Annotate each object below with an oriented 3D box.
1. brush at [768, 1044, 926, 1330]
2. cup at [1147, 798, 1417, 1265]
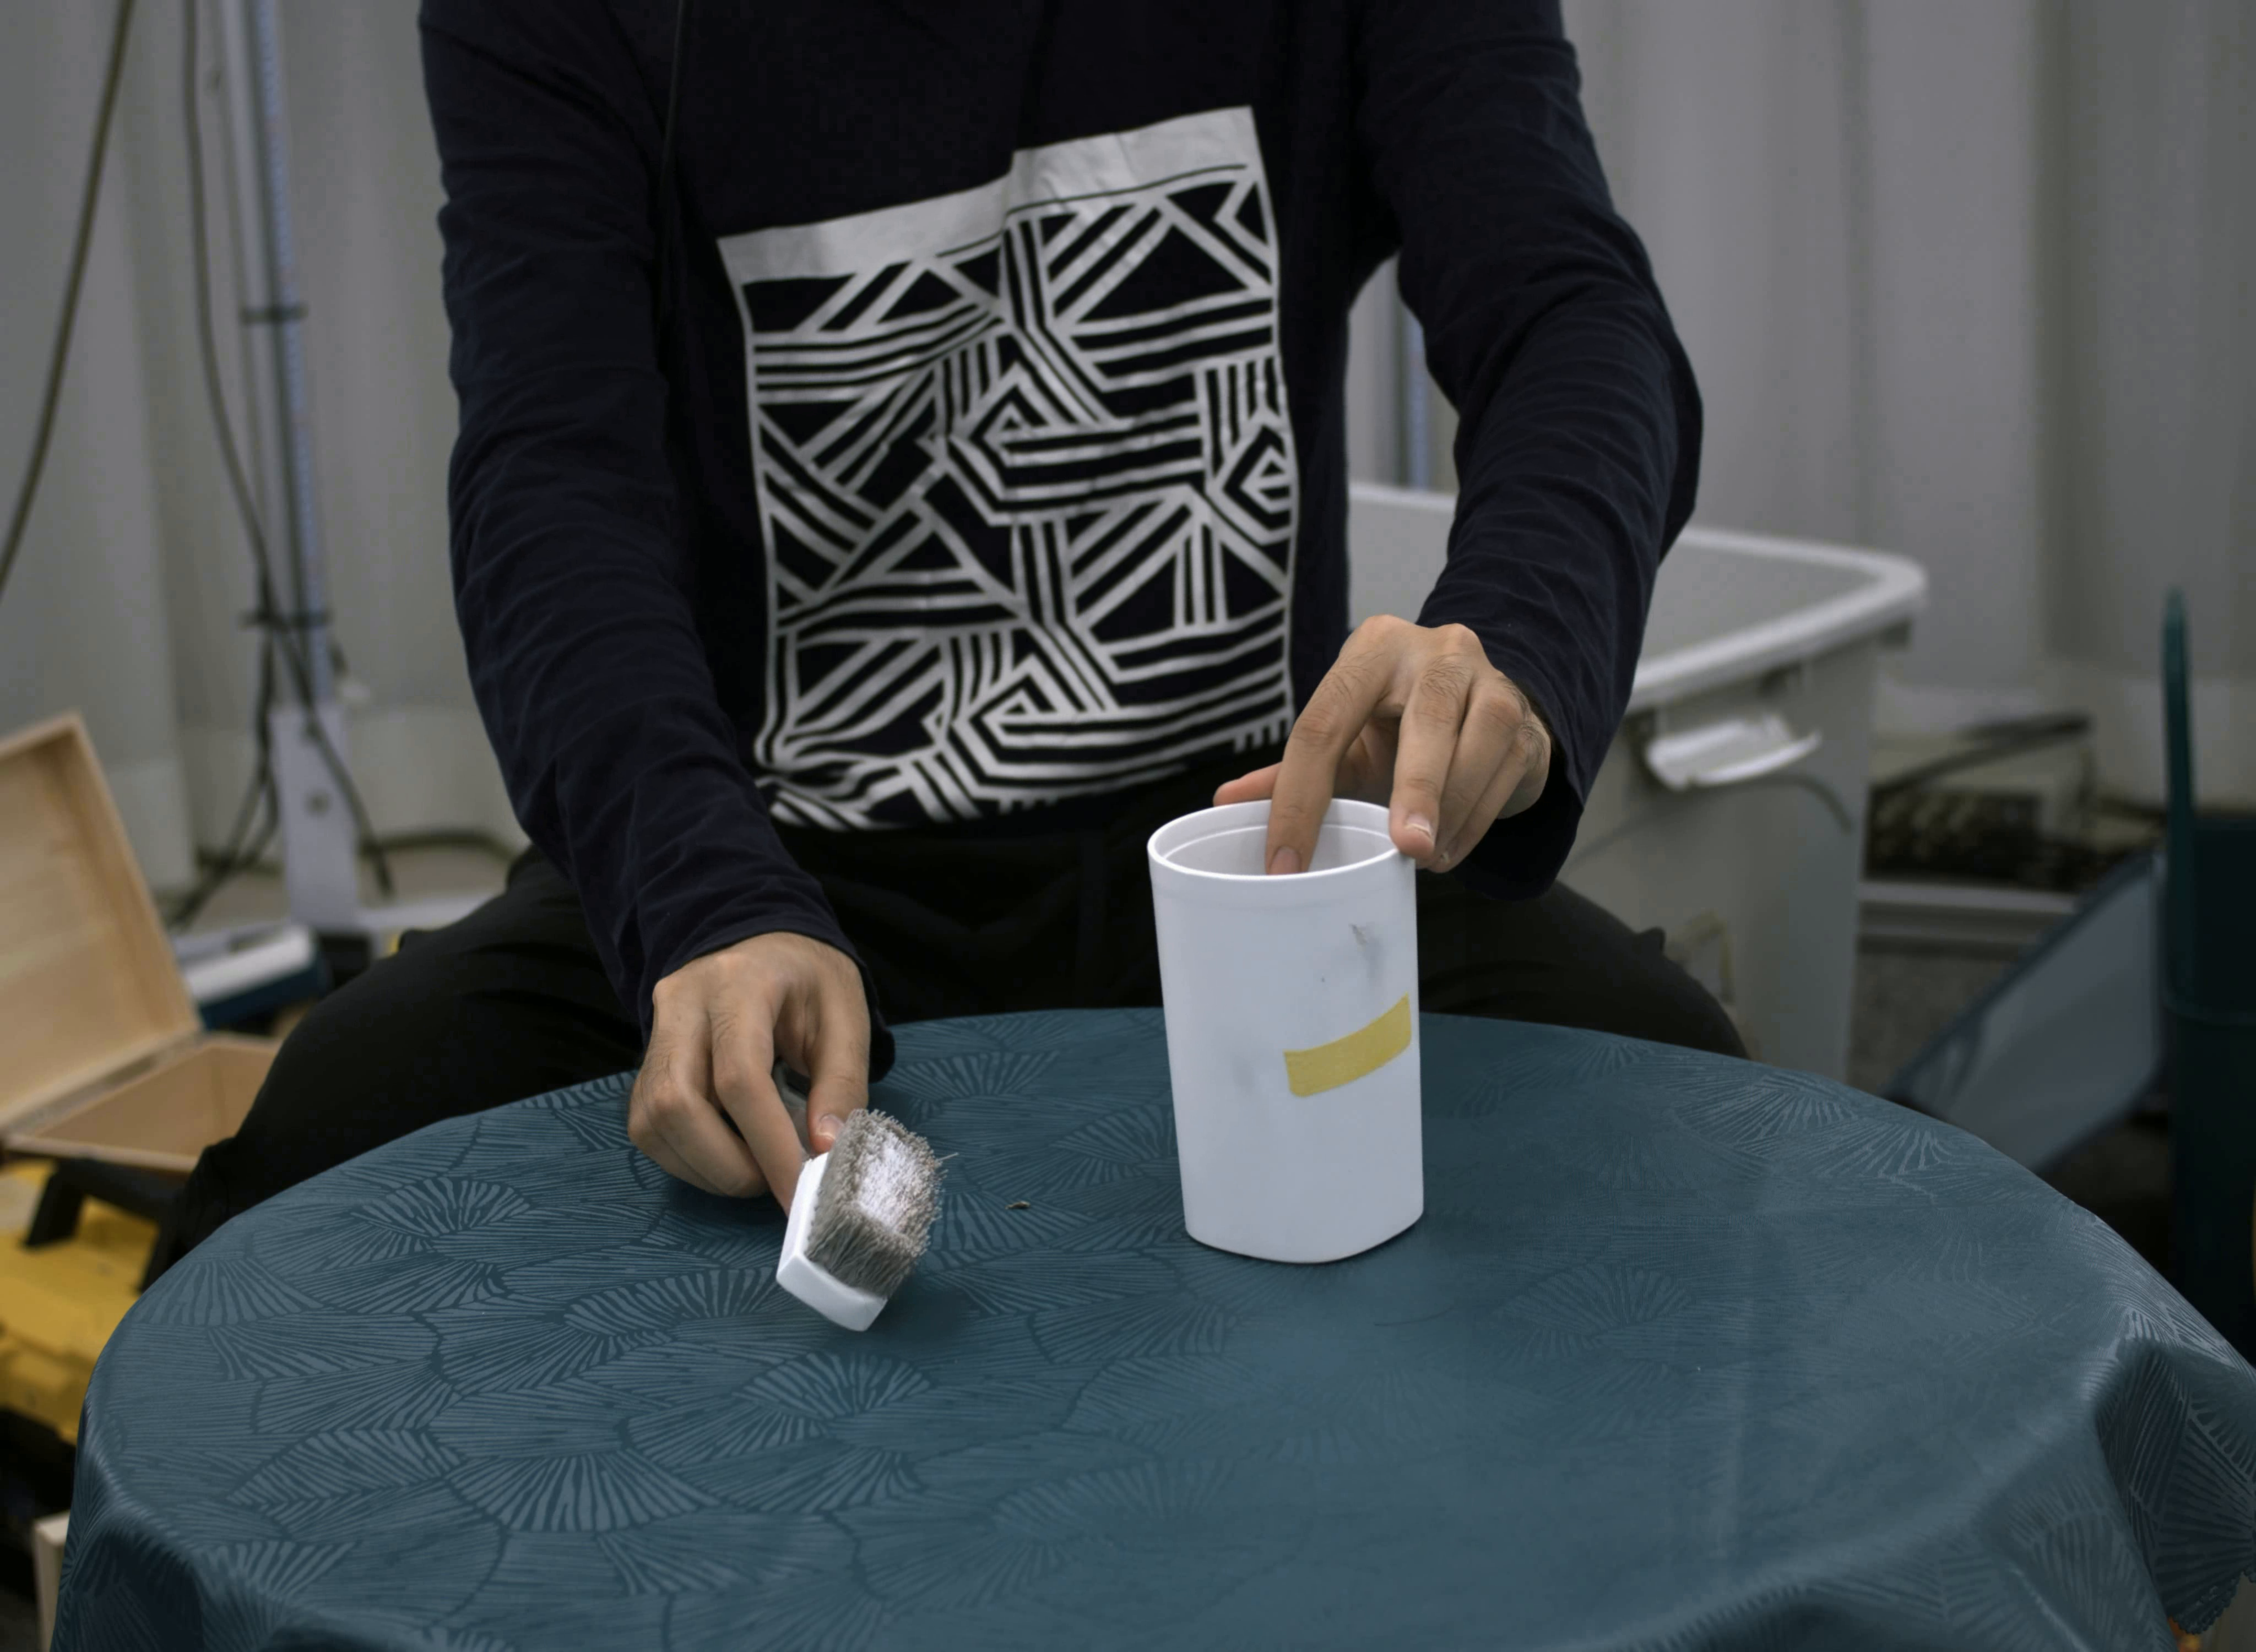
[{"bbox_3d":[-0.082,0.093,1.699,0.034,0.050,0.245,22,14,-5],"label":"brush"},{"bbox_3d":[0.050,0.063,1.659,0.081,0.125,0.082,-3,15,1],"label":"cup"}]
